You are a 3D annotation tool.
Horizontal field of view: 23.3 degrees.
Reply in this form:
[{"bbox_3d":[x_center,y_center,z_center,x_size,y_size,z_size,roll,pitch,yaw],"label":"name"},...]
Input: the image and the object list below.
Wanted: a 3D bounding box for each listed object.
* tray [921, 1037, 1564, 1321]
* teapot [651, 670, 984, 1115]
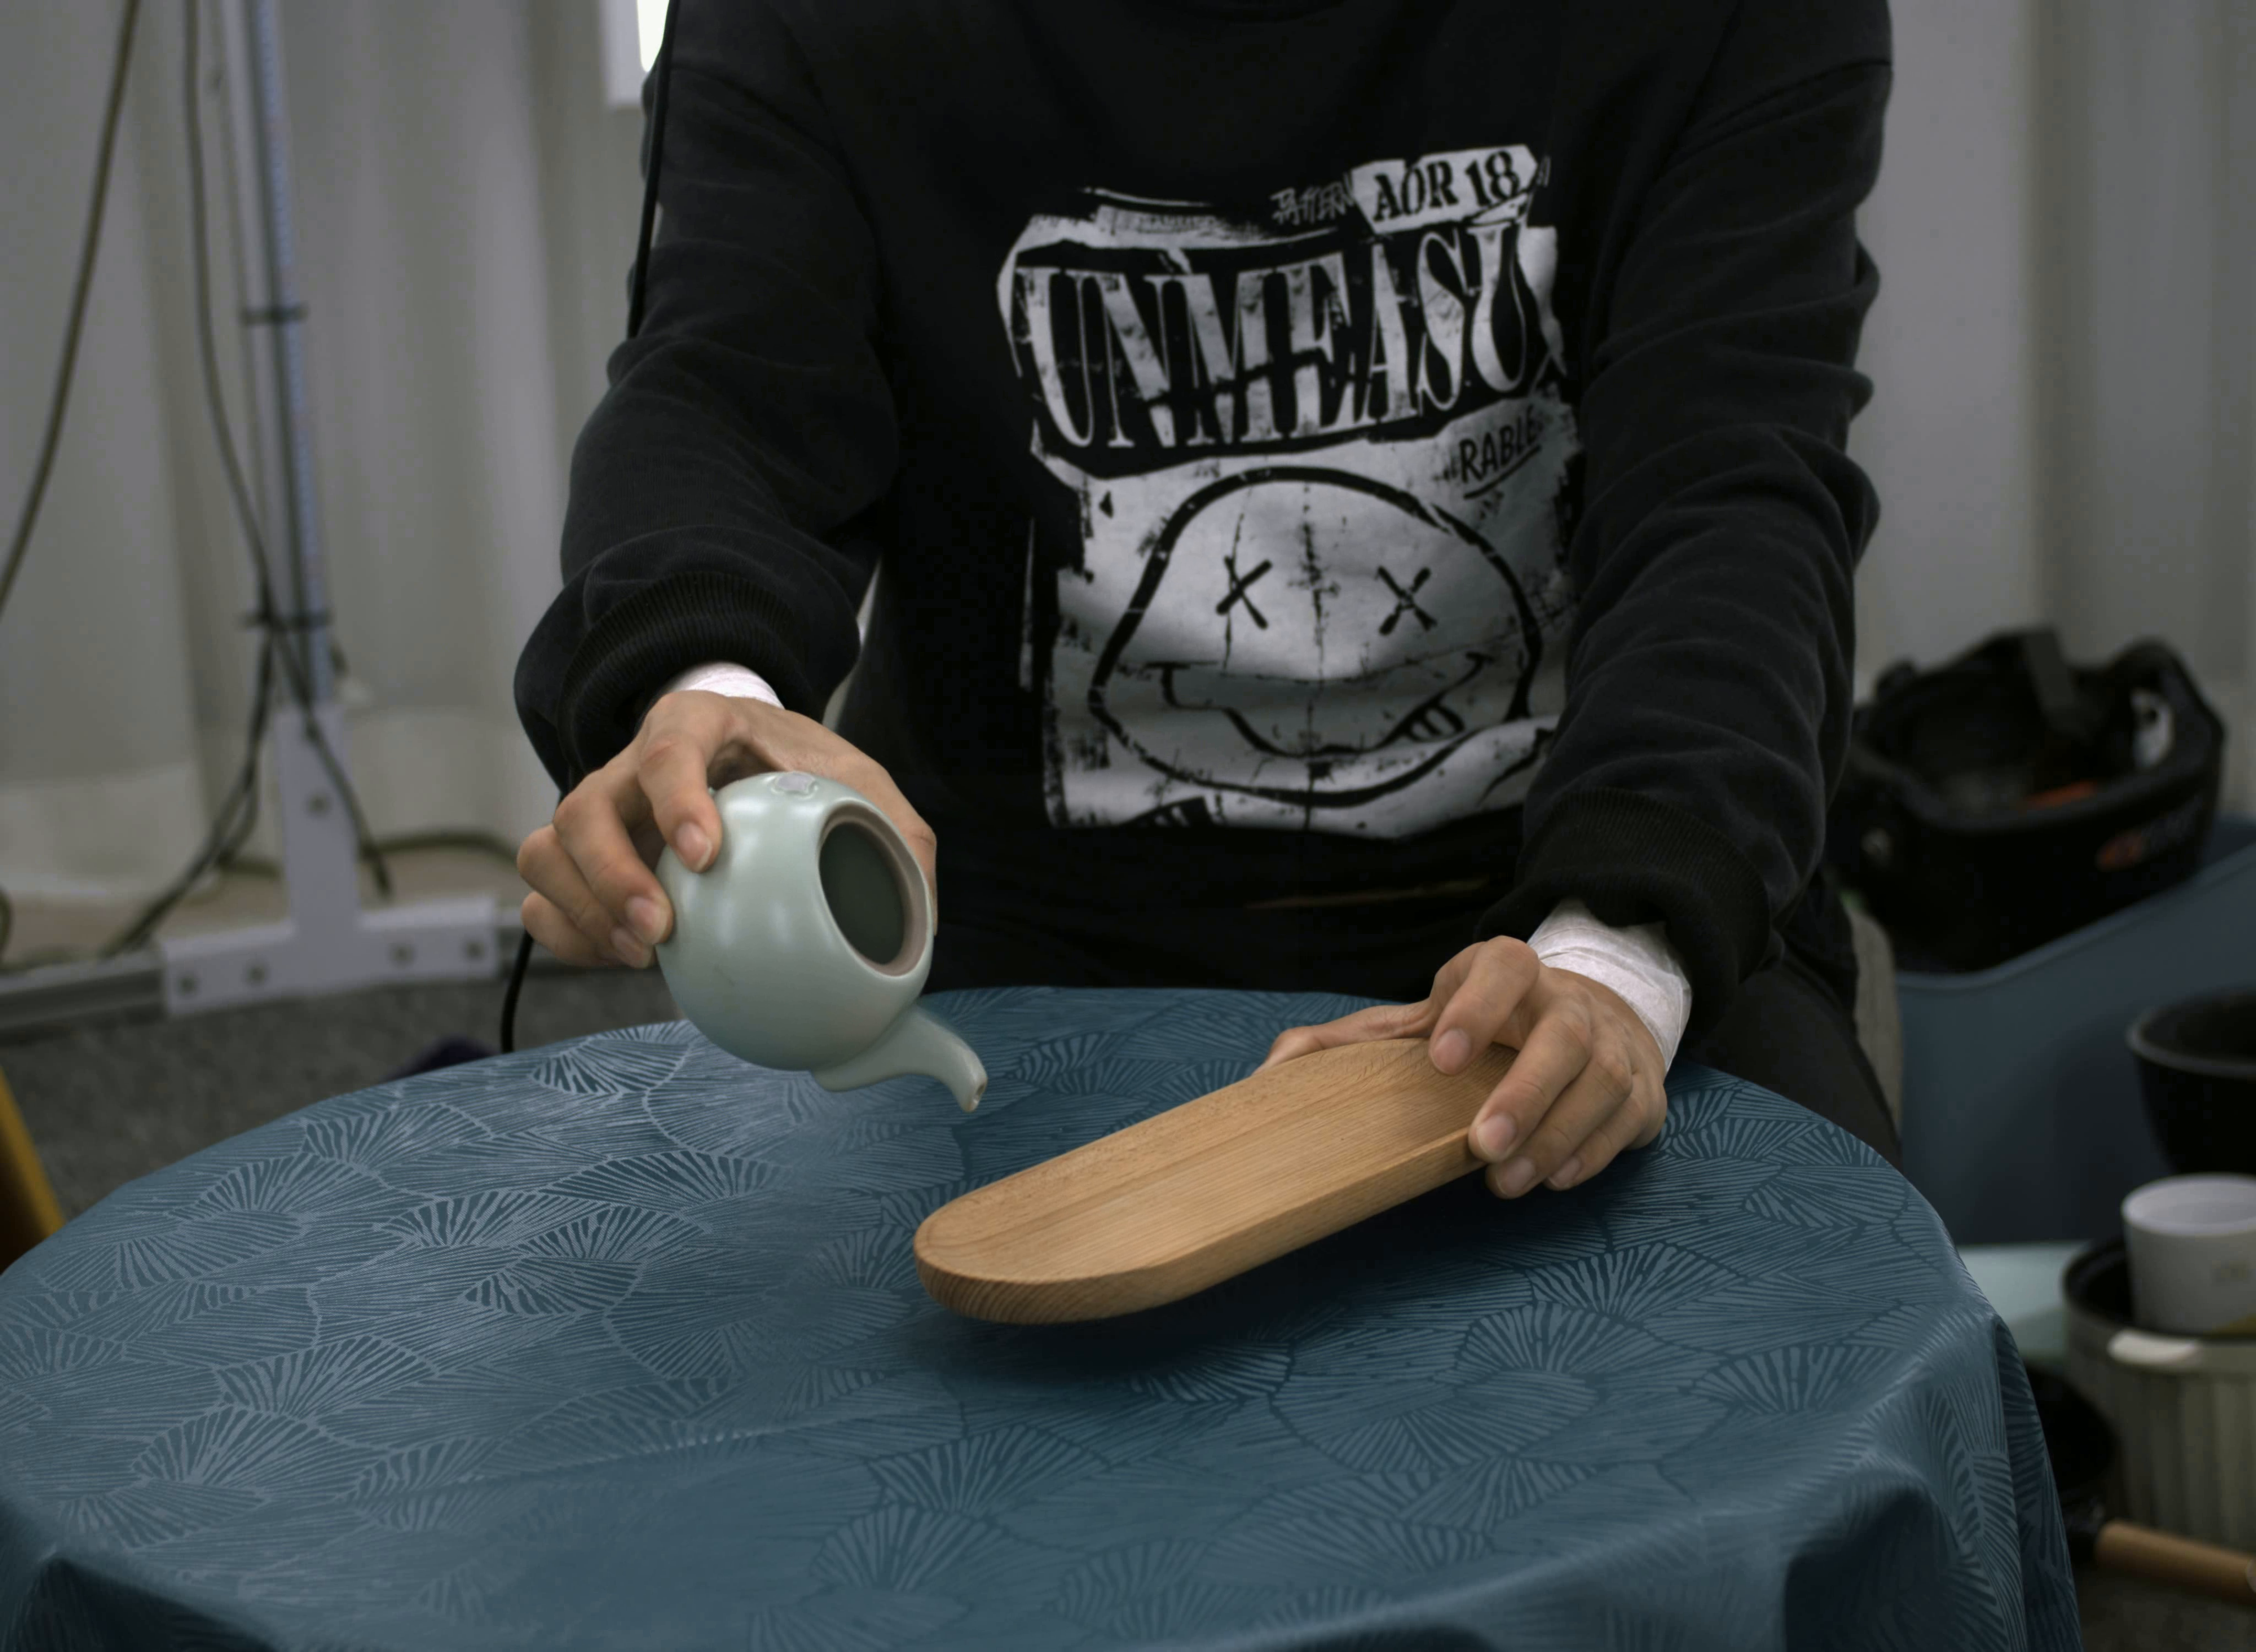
[{"bbox_3d":[0.037,0.104,1.629,0.231,0.020,0.102,-18,20,-41],"label":"tray"},{"bbox_3d":[-0.097,0.027,1.601,0.074,0.143,0.088,-18,9,29],"label":"teapot"}]
